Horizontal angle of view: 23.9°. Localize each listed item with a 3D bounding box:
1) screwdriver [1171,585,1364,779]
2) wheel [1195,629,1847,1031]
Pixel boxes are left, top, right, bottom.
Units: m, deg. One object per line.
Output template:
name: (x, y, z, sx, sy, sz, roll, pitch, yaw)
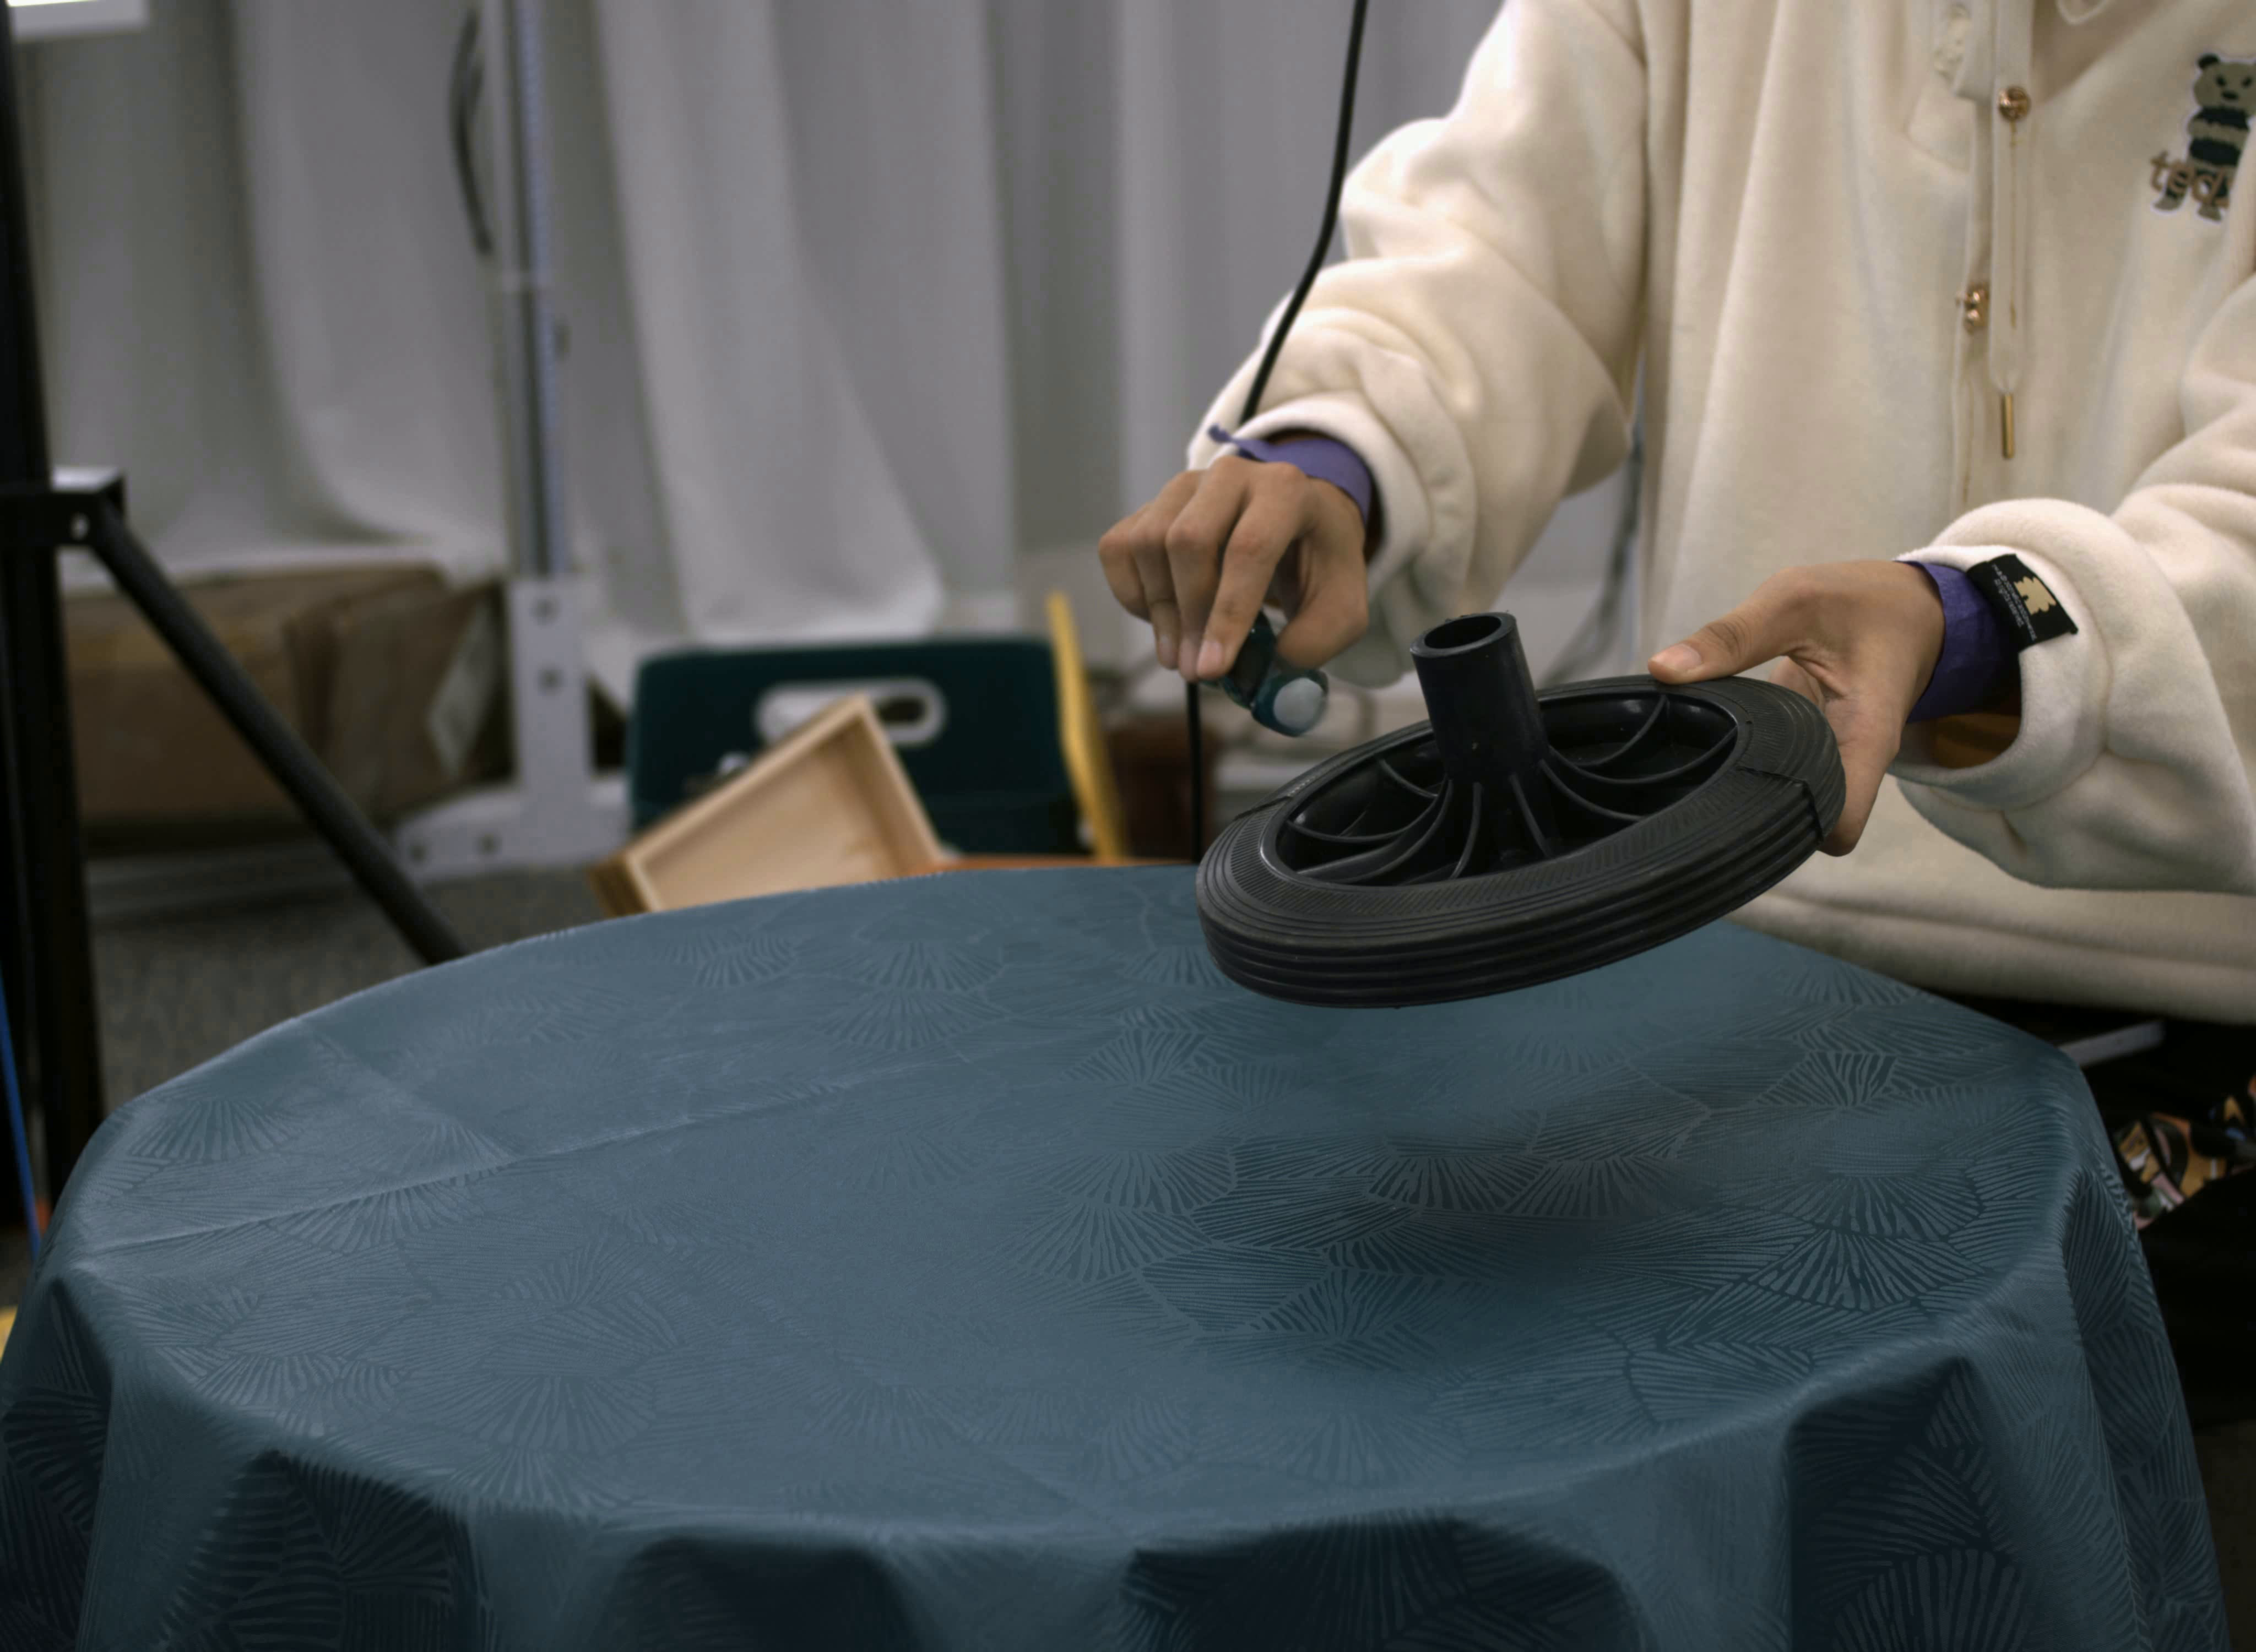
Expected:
screwdriver: (0.046, -0.040, 1.681, 0.033, 0.033, 0.192, -5, 18, -12)
wheel: (0.104, -0.012, 1.498, 0.187, 0.078, 0.191, -25, 20, -17)
